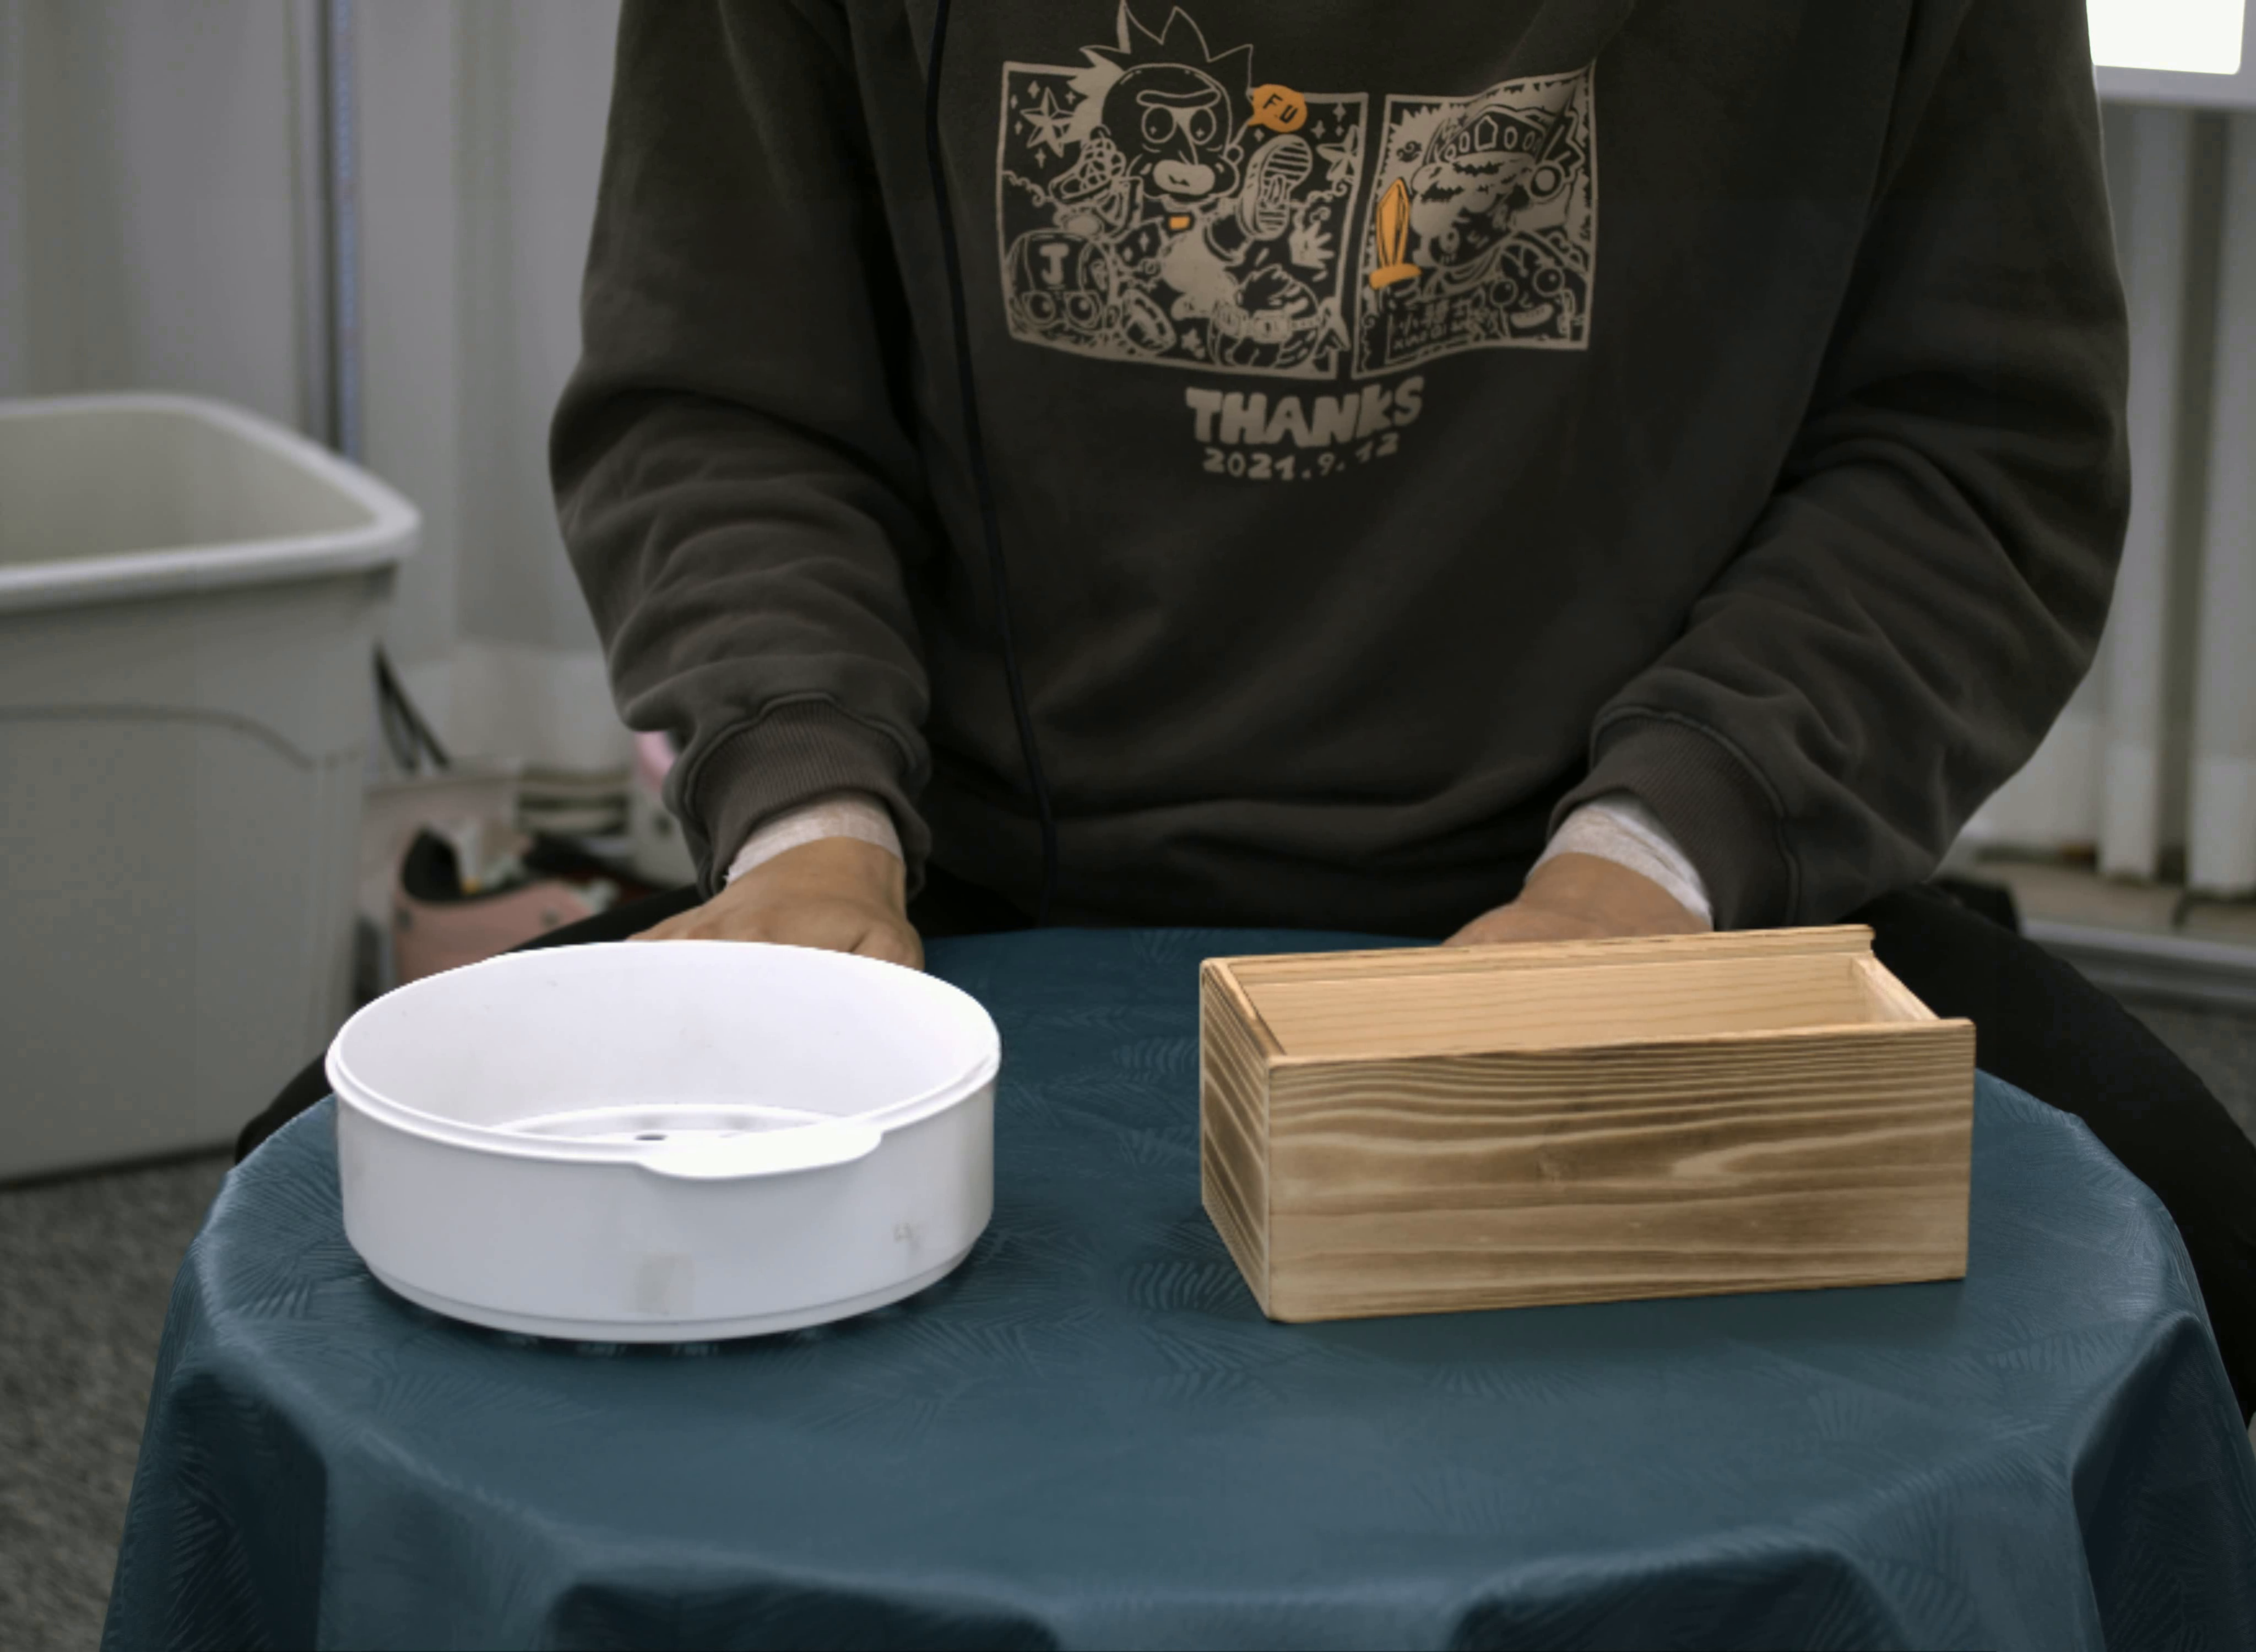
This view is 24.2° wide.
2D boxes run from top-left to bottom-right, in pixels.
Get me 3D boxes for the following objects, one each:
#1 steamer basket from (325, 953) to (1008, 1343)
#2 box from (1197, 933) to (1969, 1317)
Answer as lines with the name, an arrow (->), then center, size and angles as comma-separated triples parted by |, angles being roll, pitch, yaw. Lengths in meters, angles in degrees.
steamer basket -> -0.136, 0.095, 1.563 | 0.202, 0.070, 0.228 | -4, 15, -21
box -> 0.133, 0.087, 1.576 | 0.211, 0.081, 0.106 | -2, 15, -11
